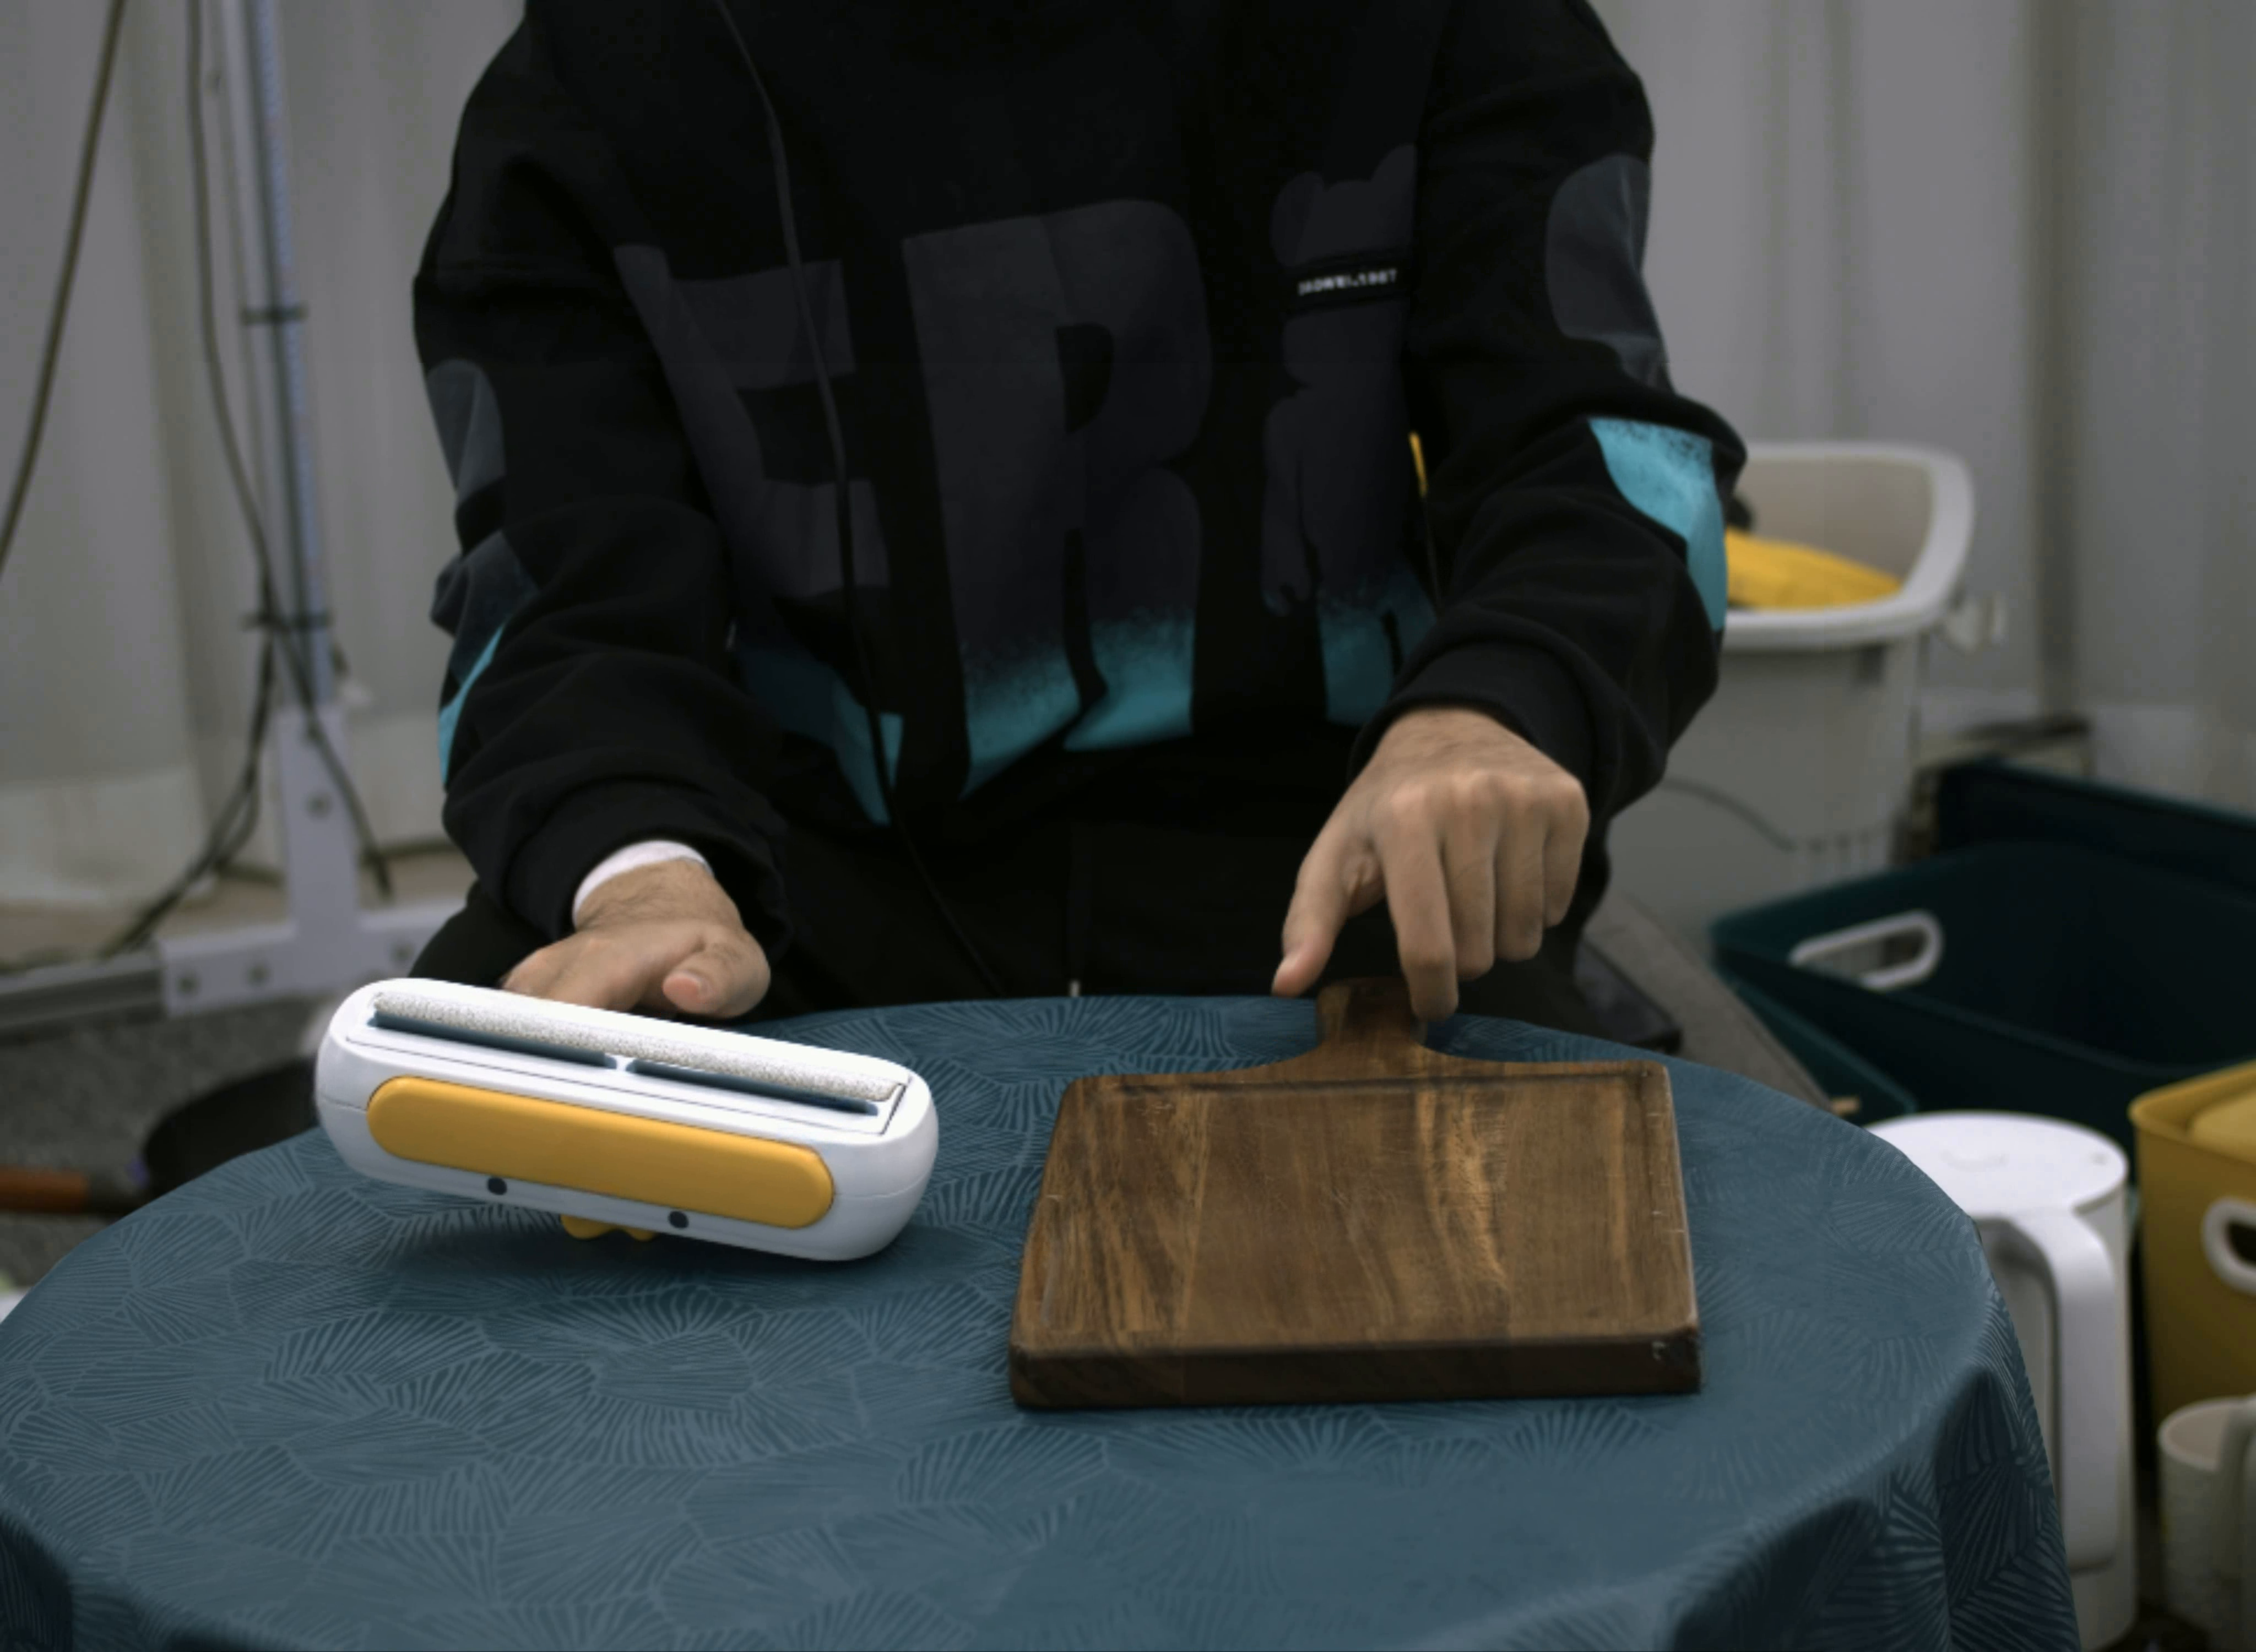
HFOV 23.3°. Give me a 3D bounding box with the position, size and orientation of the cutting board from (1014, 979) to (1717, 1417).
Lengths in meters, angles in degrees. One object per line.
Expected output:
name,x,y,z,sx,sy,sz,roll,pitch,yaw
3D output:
cutting board,0.072,0.107,1.689,0.200,0.023,0.354,-2,15,4

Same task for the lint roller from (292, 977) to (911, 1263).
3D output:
lint roller,-0.149,0.082,1.736,0.193,0.074,0.193,6,15,12
